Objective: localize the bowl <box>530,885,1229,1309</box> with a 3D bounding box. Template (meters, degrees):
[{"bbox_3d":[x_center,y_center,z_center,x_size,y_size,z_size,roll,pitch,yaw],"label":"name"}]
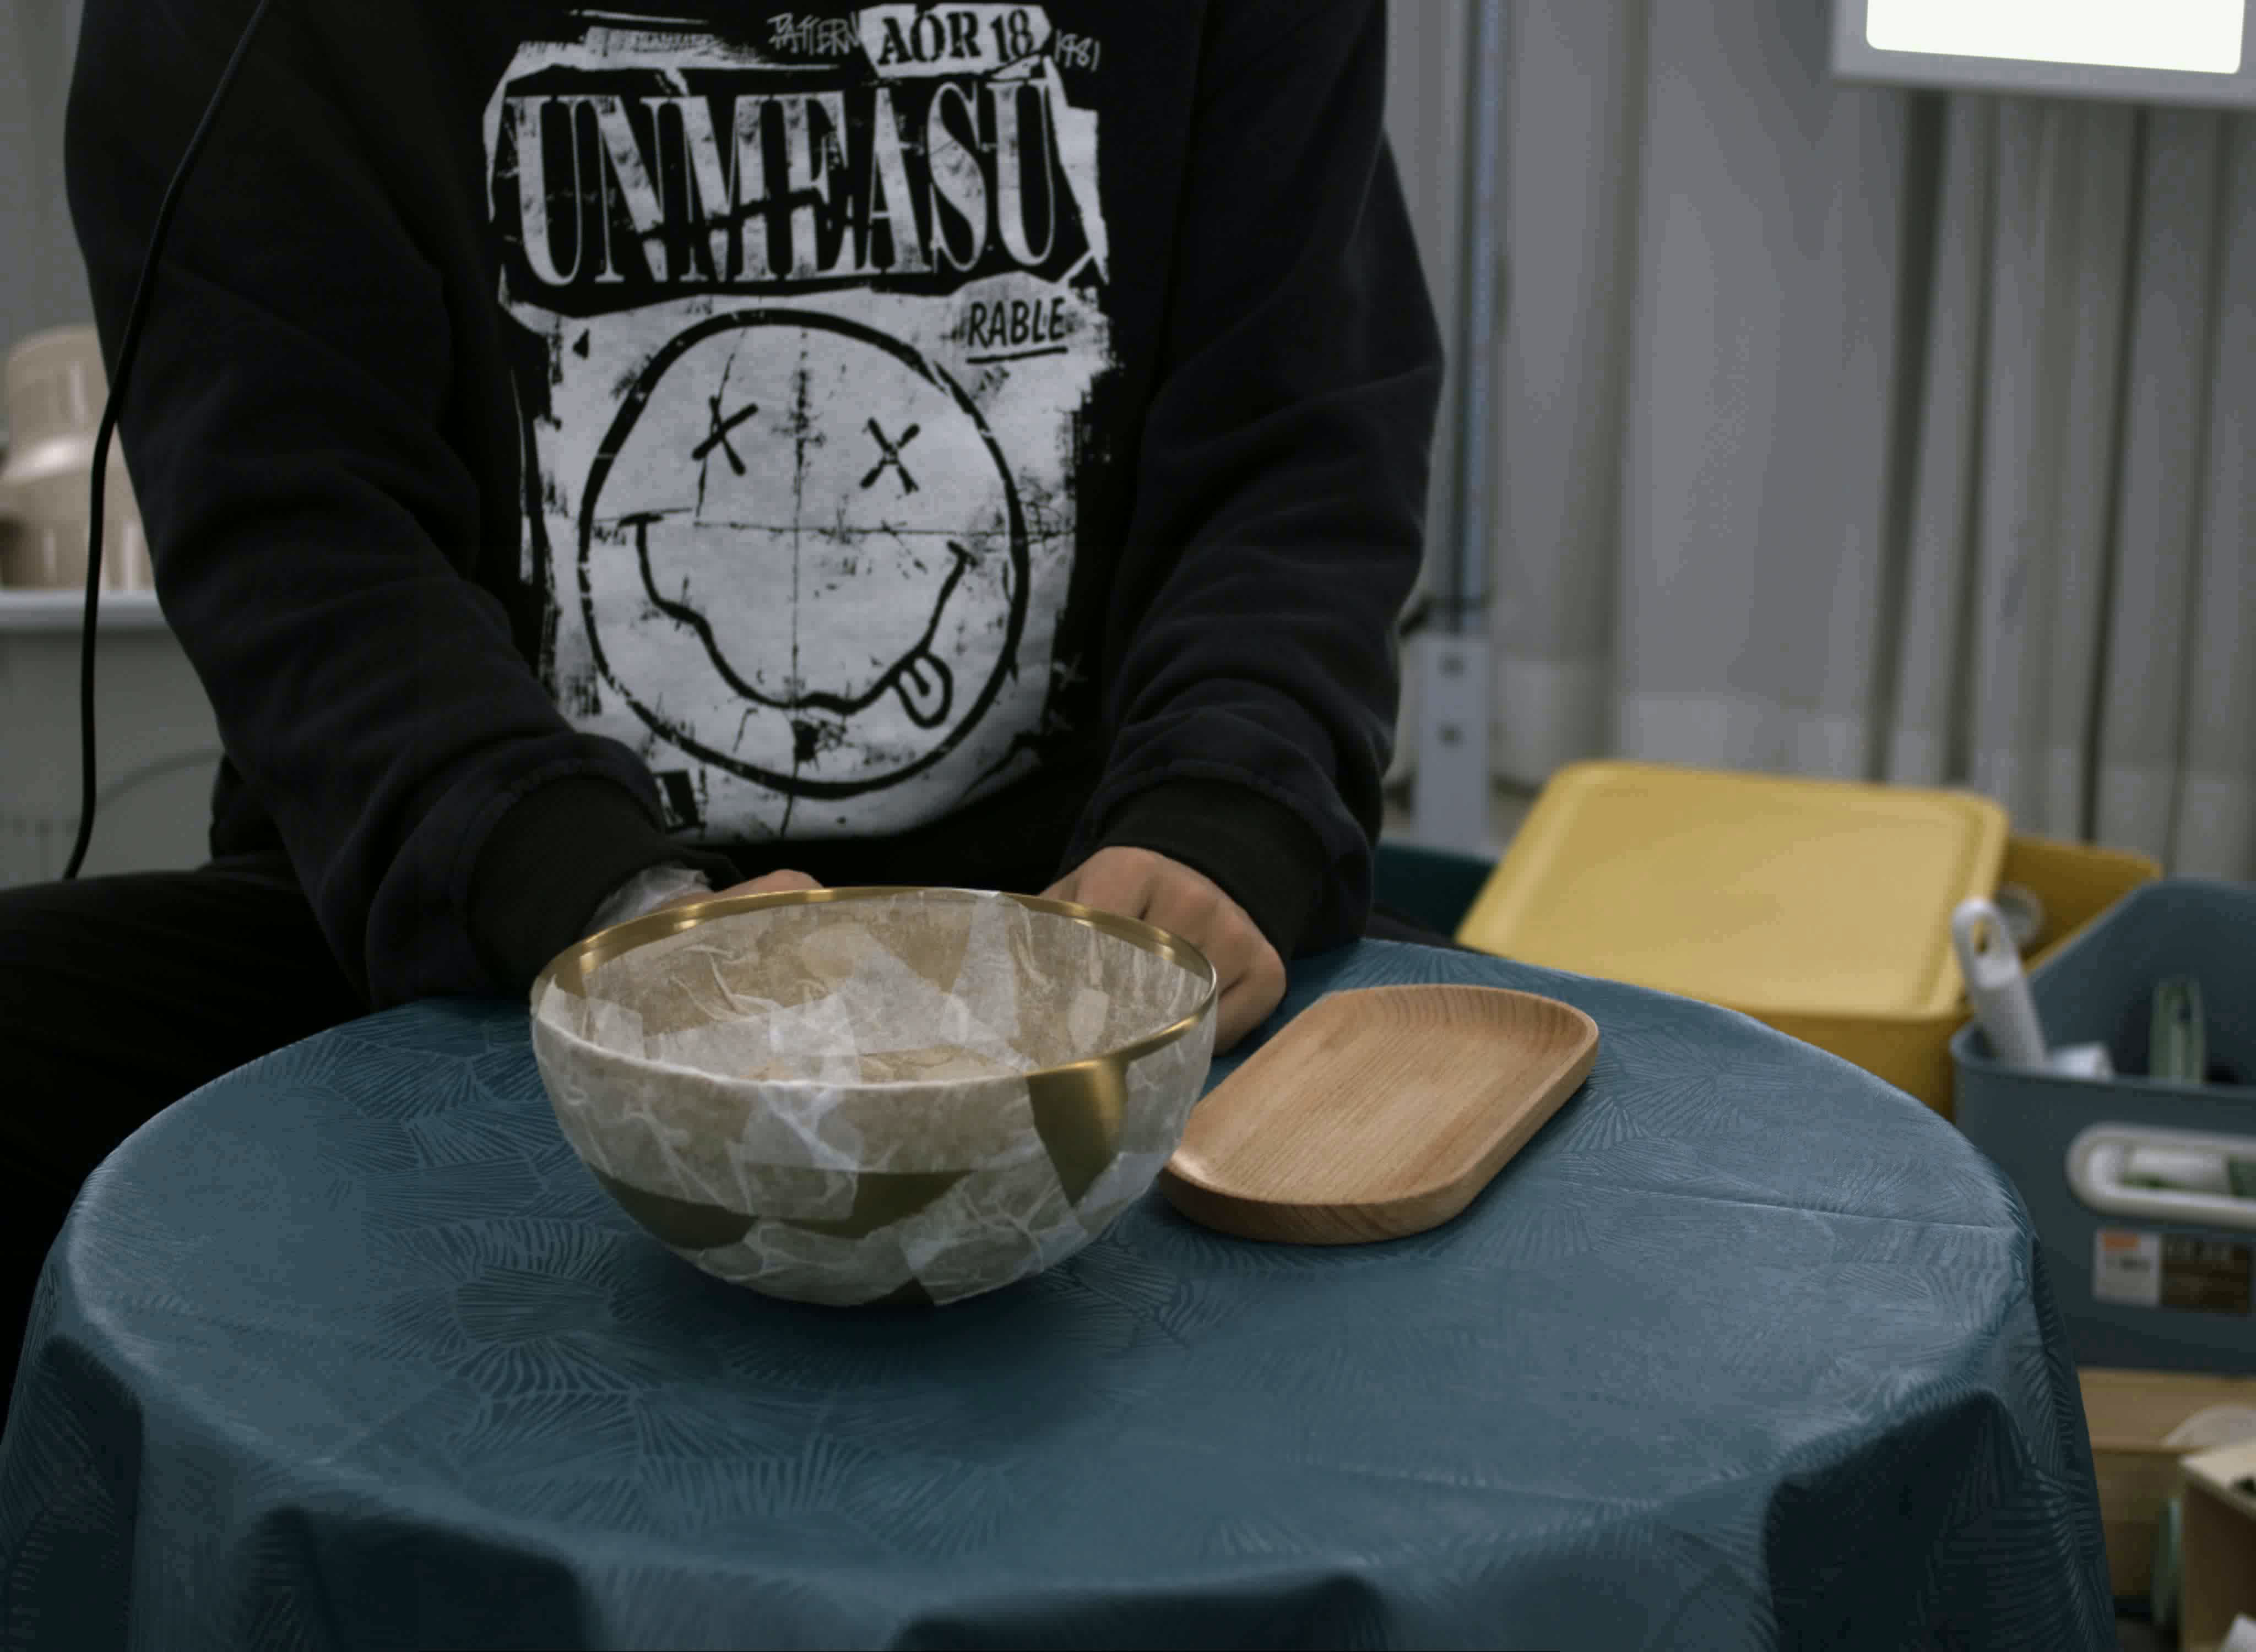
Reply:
[{"bbox_3d":[-0.070,0.087,1.546,0.214,0.095,0.213,0,15,1],"label":"bowl"}]

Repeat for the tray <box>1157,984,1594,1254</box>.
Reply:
[{"bbox_3d":[0.082,0.091,1.678,0.101,0.020,0.231,4,18,19],"label":"tray"}]
